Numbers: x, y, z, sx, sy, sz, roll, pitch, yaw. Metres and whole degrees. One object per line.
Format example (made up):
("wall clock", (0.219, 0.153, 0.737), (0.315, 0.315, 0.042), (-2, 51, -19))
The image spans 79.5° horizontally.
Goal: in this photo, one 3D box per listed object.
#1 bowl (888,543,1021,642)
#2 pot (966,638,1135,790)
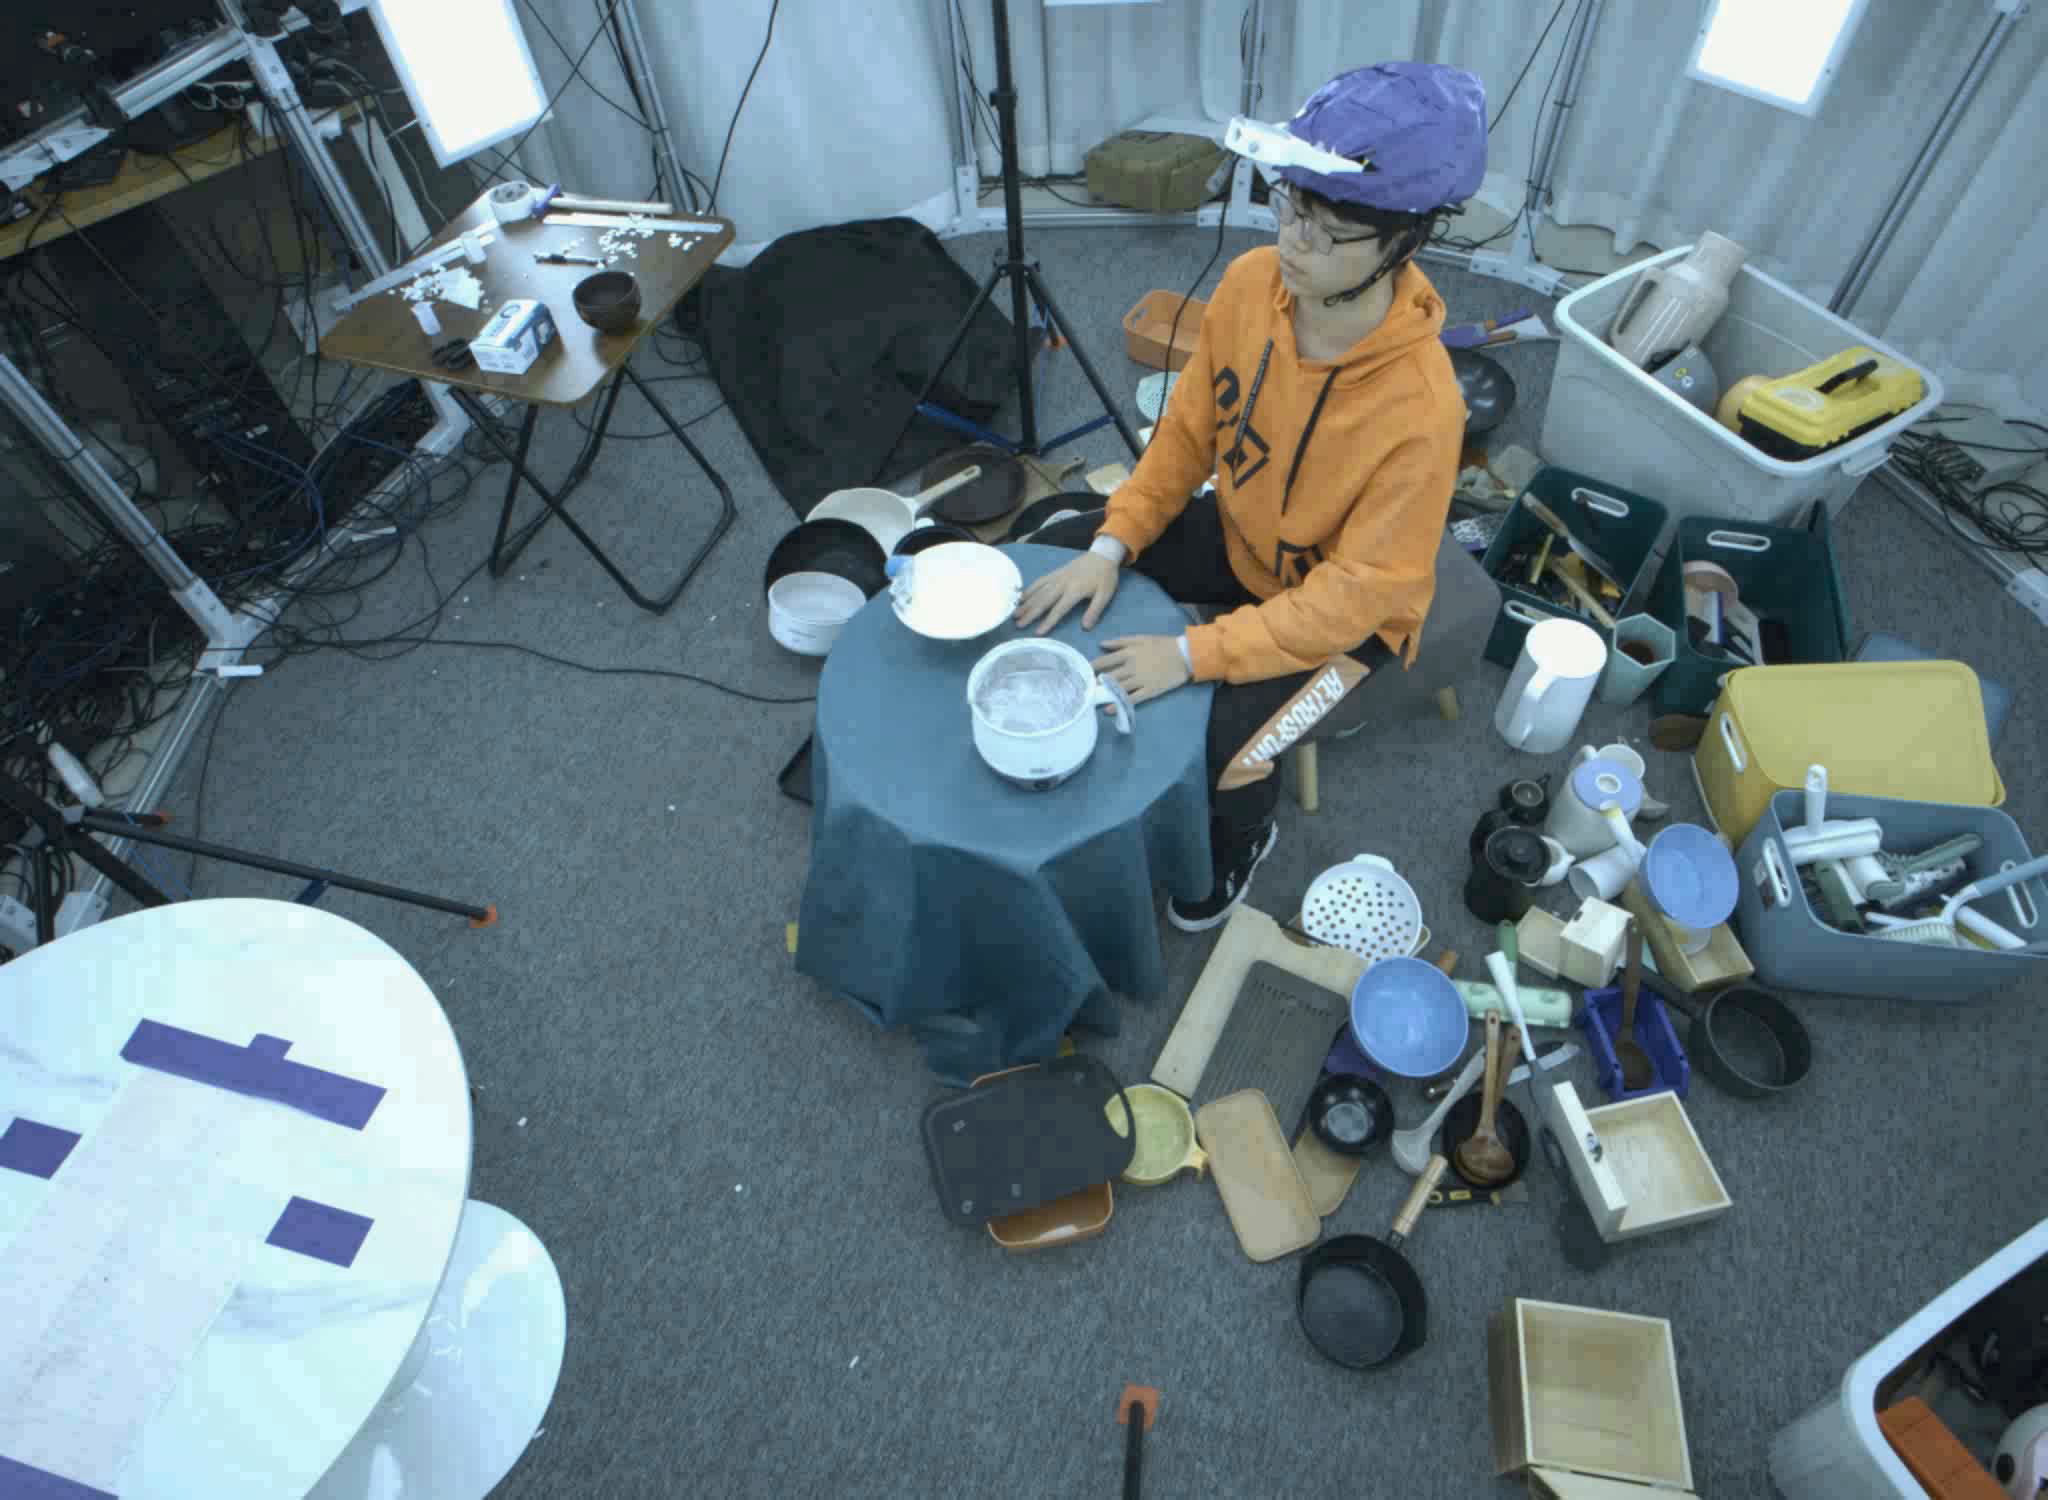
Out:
("bowl", (-0.107, -0.225, 1.906), (0.204, 0.078, 0.202), (2, 53, -1))
("pot", (0.041, -0.054, 1.739), (0.234, 0.138, 0.176), (-8, 55, -2))
